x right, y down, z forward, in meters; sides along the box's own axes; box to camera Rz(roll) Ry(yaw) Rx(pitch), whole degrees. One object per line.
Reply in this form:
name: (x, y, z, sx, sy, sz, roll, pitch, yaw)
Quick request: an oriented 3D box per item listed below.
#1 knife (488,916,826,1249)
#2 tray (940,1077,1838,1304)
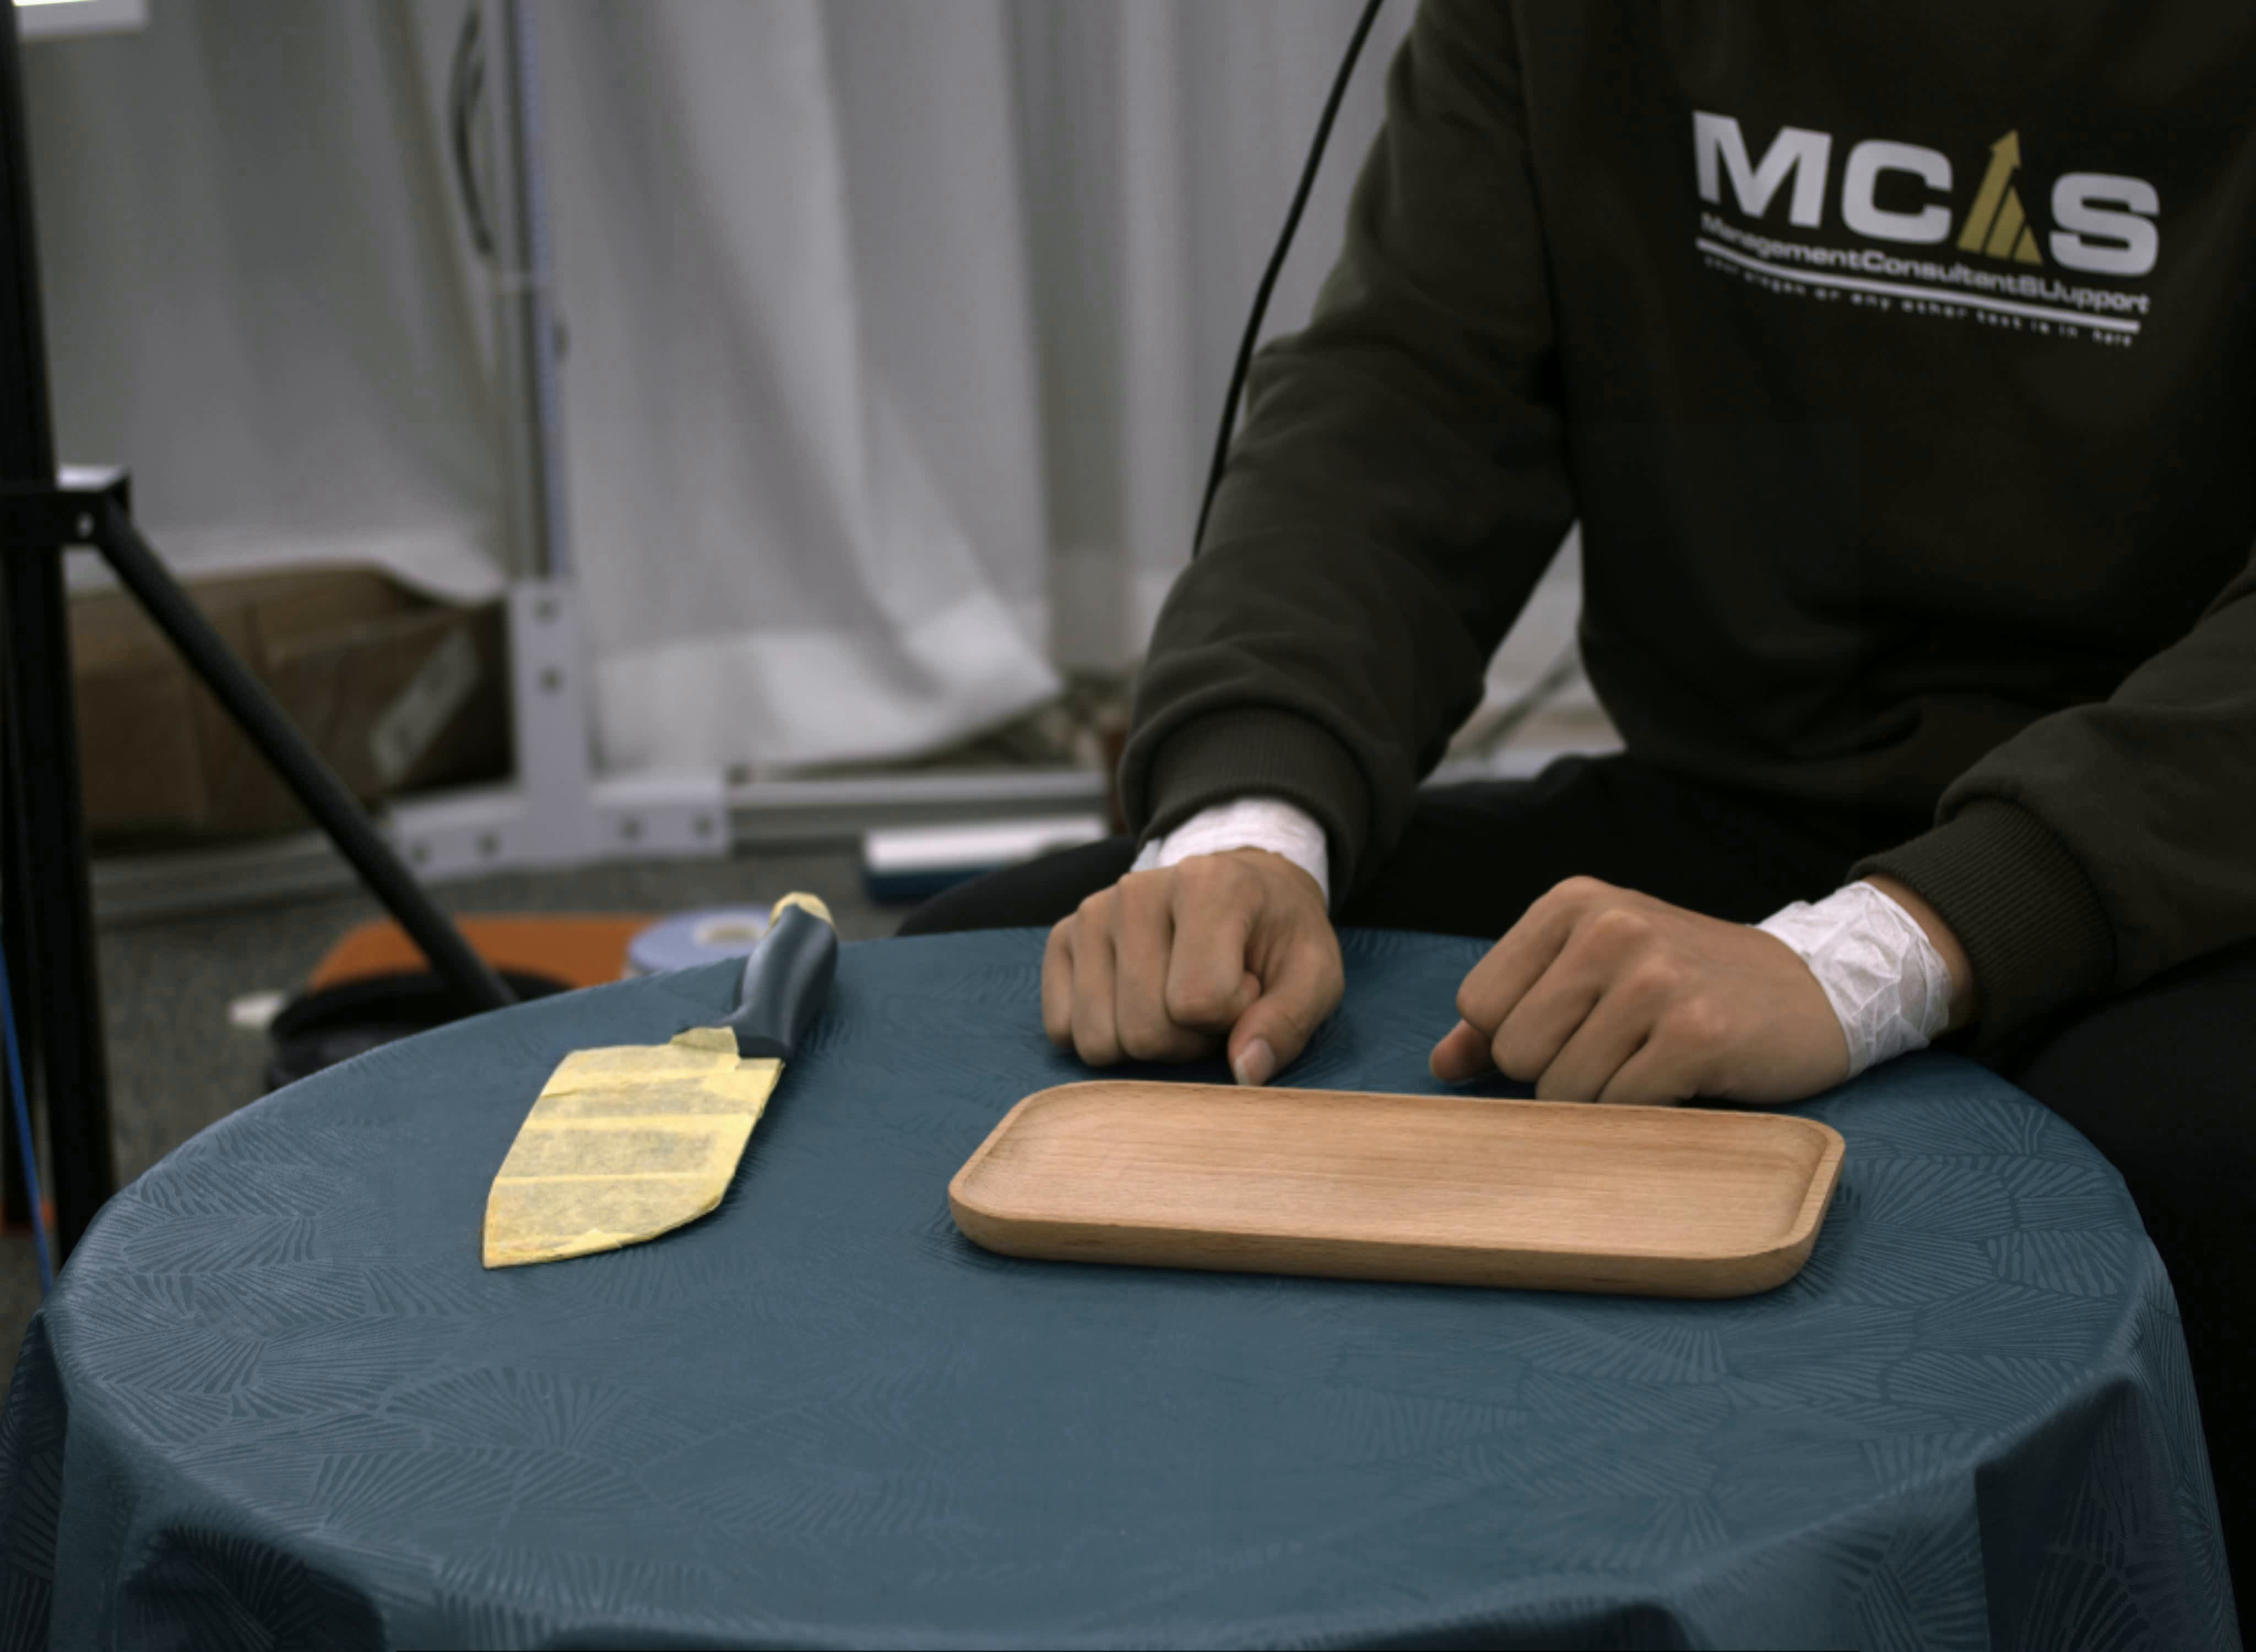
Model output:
knife: (-0.142, 0.080, 1.658, 0.081, 0.027, 0.288, 2, 17, 9)
tray: (0.076, 0.105, 1.532, 0.253, 0.023, 0.129, 2, 14, 17)
